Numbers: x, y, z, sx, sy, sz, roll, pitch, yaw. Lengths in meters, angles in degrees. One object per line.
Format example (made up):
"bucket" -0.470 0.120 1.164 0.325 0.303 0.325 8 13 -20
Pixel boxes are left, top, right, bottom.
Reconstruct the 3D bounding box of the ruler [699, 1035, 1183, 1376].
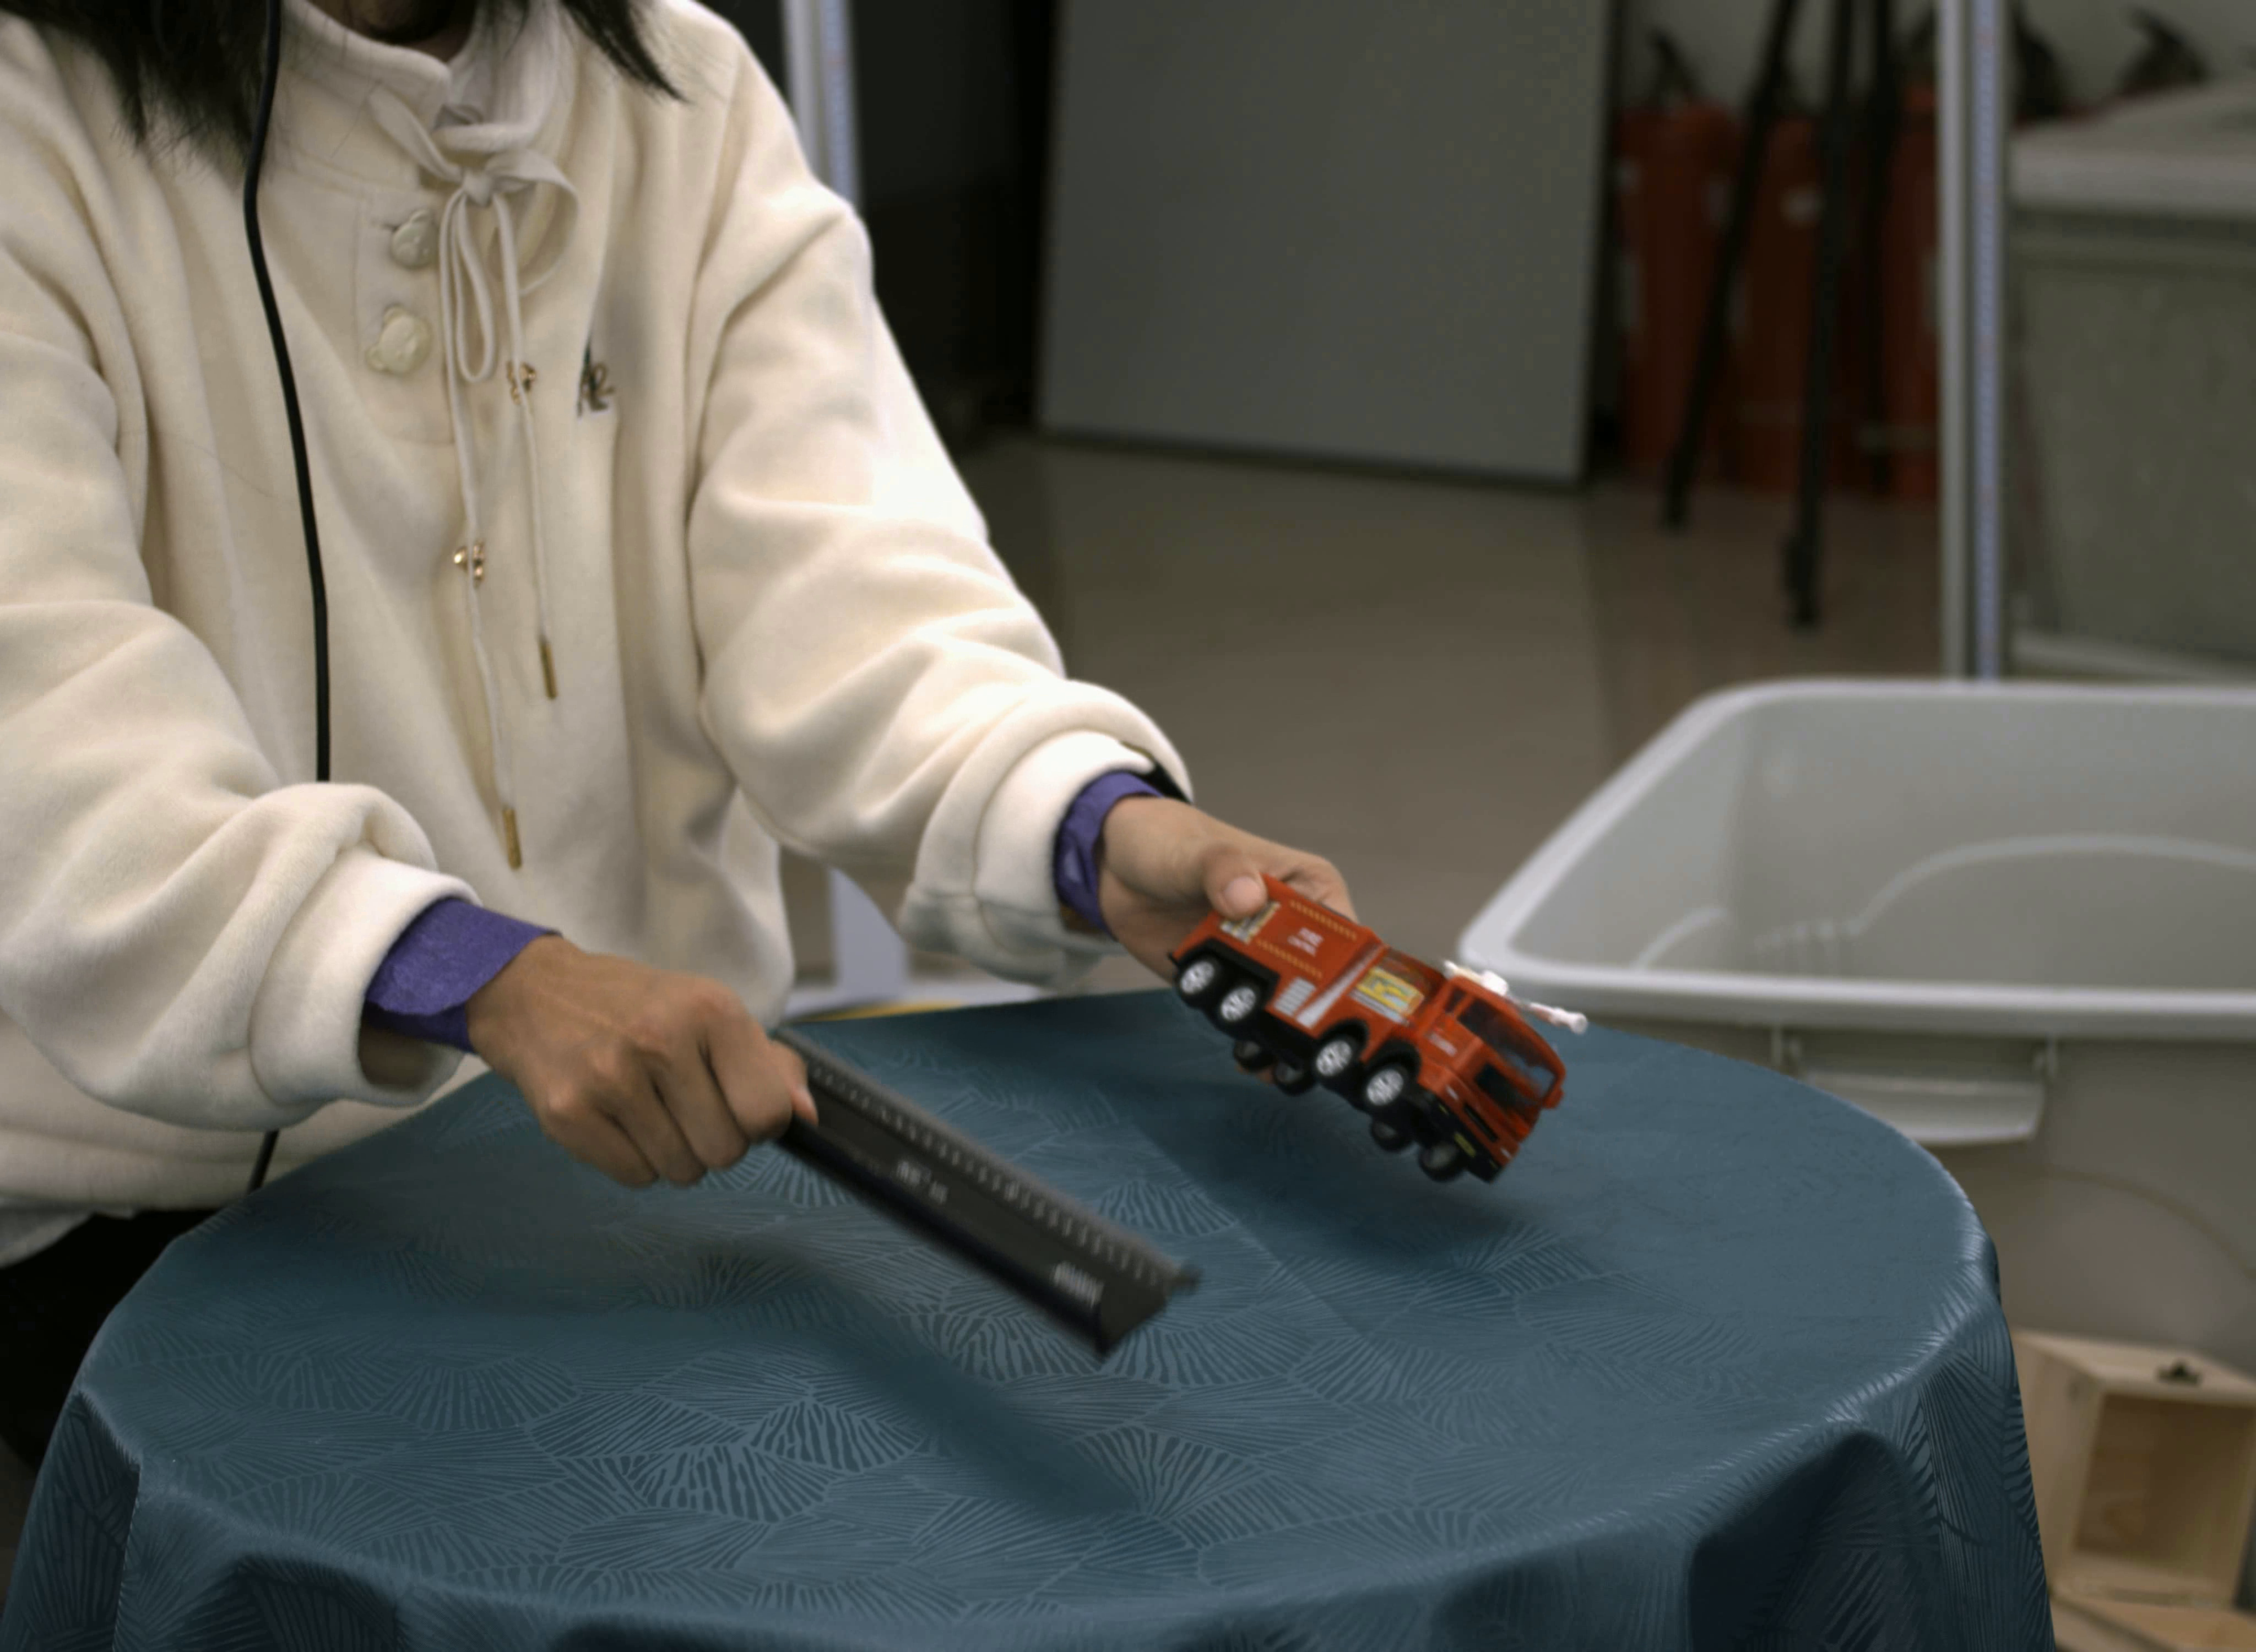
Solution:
"ruler" -0.063 0.105 1.624 0.039 0.017 0.315 -35 23 -14

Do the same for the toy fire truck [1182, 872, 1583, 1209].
"toy fire truck" 0.081 0.067 1.752 0.070 0.053 0.170 -52 32 -8
